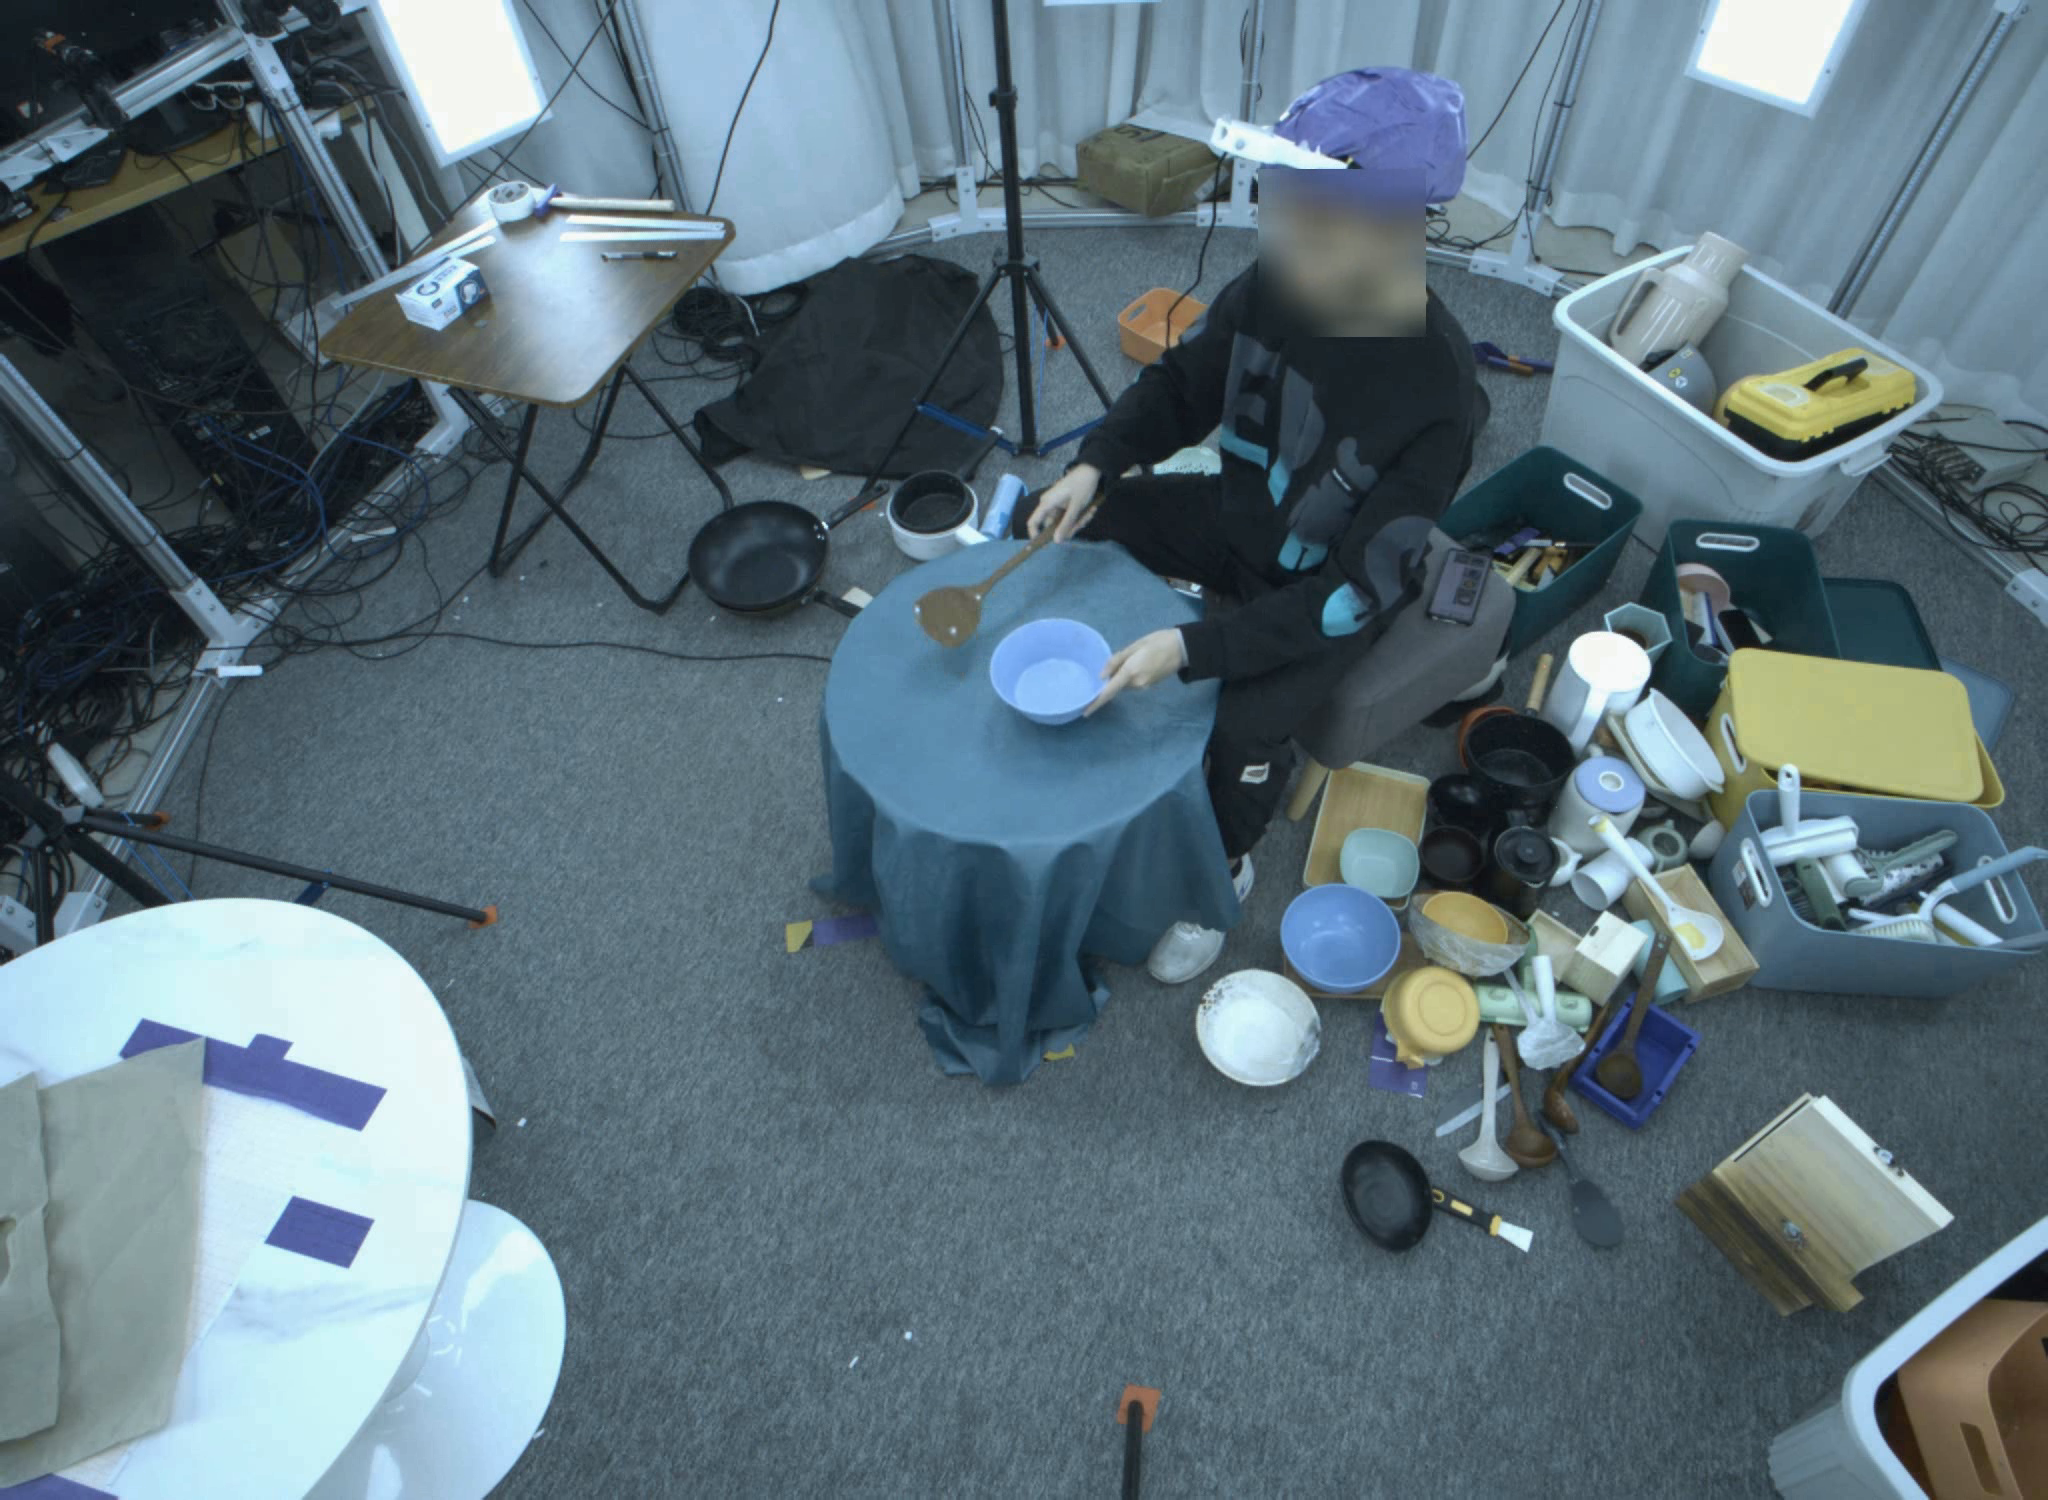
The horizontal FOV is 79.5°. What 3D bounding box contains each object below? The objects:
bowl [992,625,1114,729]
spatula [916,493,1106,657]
[{"bbox_3d":[0.044,-0.097,1.794,0.176,0.071,0.174,-1,55,3],"label":"bowl"},{"bbox_3d":[-0.007,-0.285,1.899,0.388,0.016,0.096,-42,88,-19],"label":"spatula"}]
